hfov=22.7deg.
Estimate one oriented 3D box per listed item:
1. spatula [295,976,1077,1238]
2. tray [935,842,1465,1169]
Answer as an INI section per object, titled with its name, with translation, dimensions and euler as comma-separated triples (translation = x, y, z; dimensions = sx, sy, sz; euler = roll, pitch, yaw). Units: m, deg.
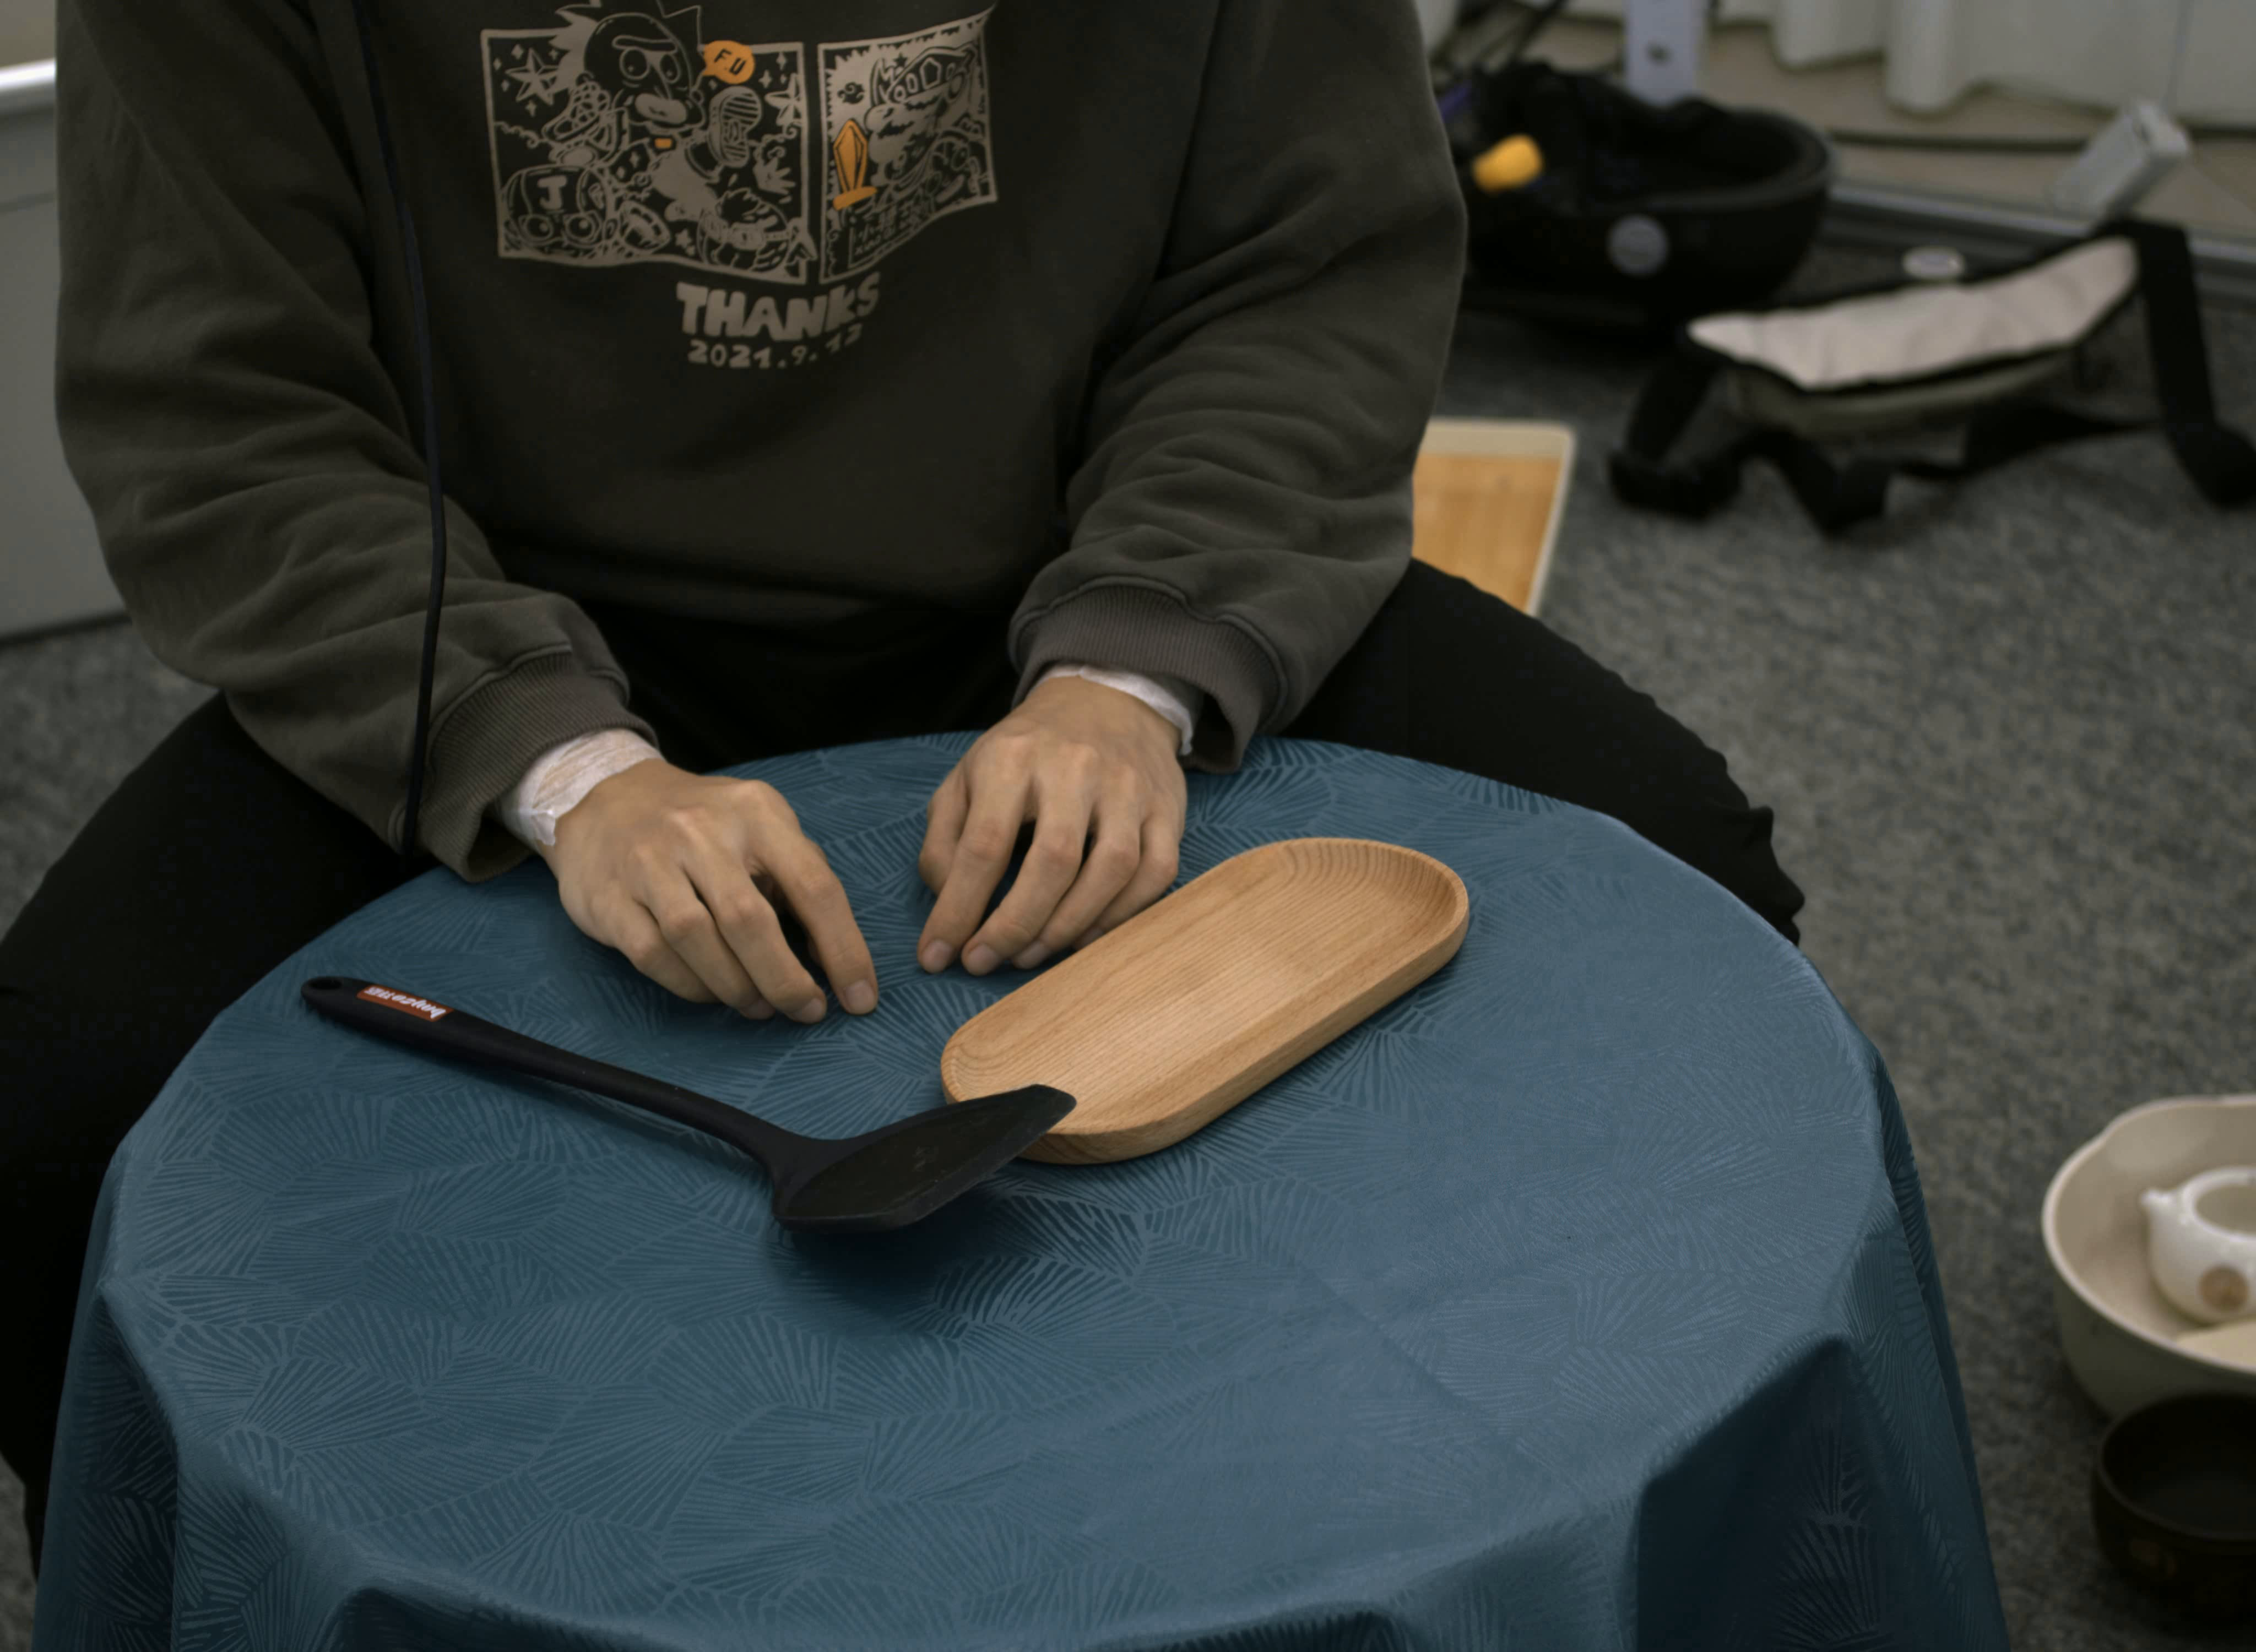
[spatula]
translation = -0.167, 0.086, 1.906
dimensions = 0.325, 0.040, 0.101
euler = 18, 33, 34
[tray]
translation = 0.027, 0.061, 1.956
dimensions = 0.101, 0.020, 0.234
euler = 19, 36, 36
